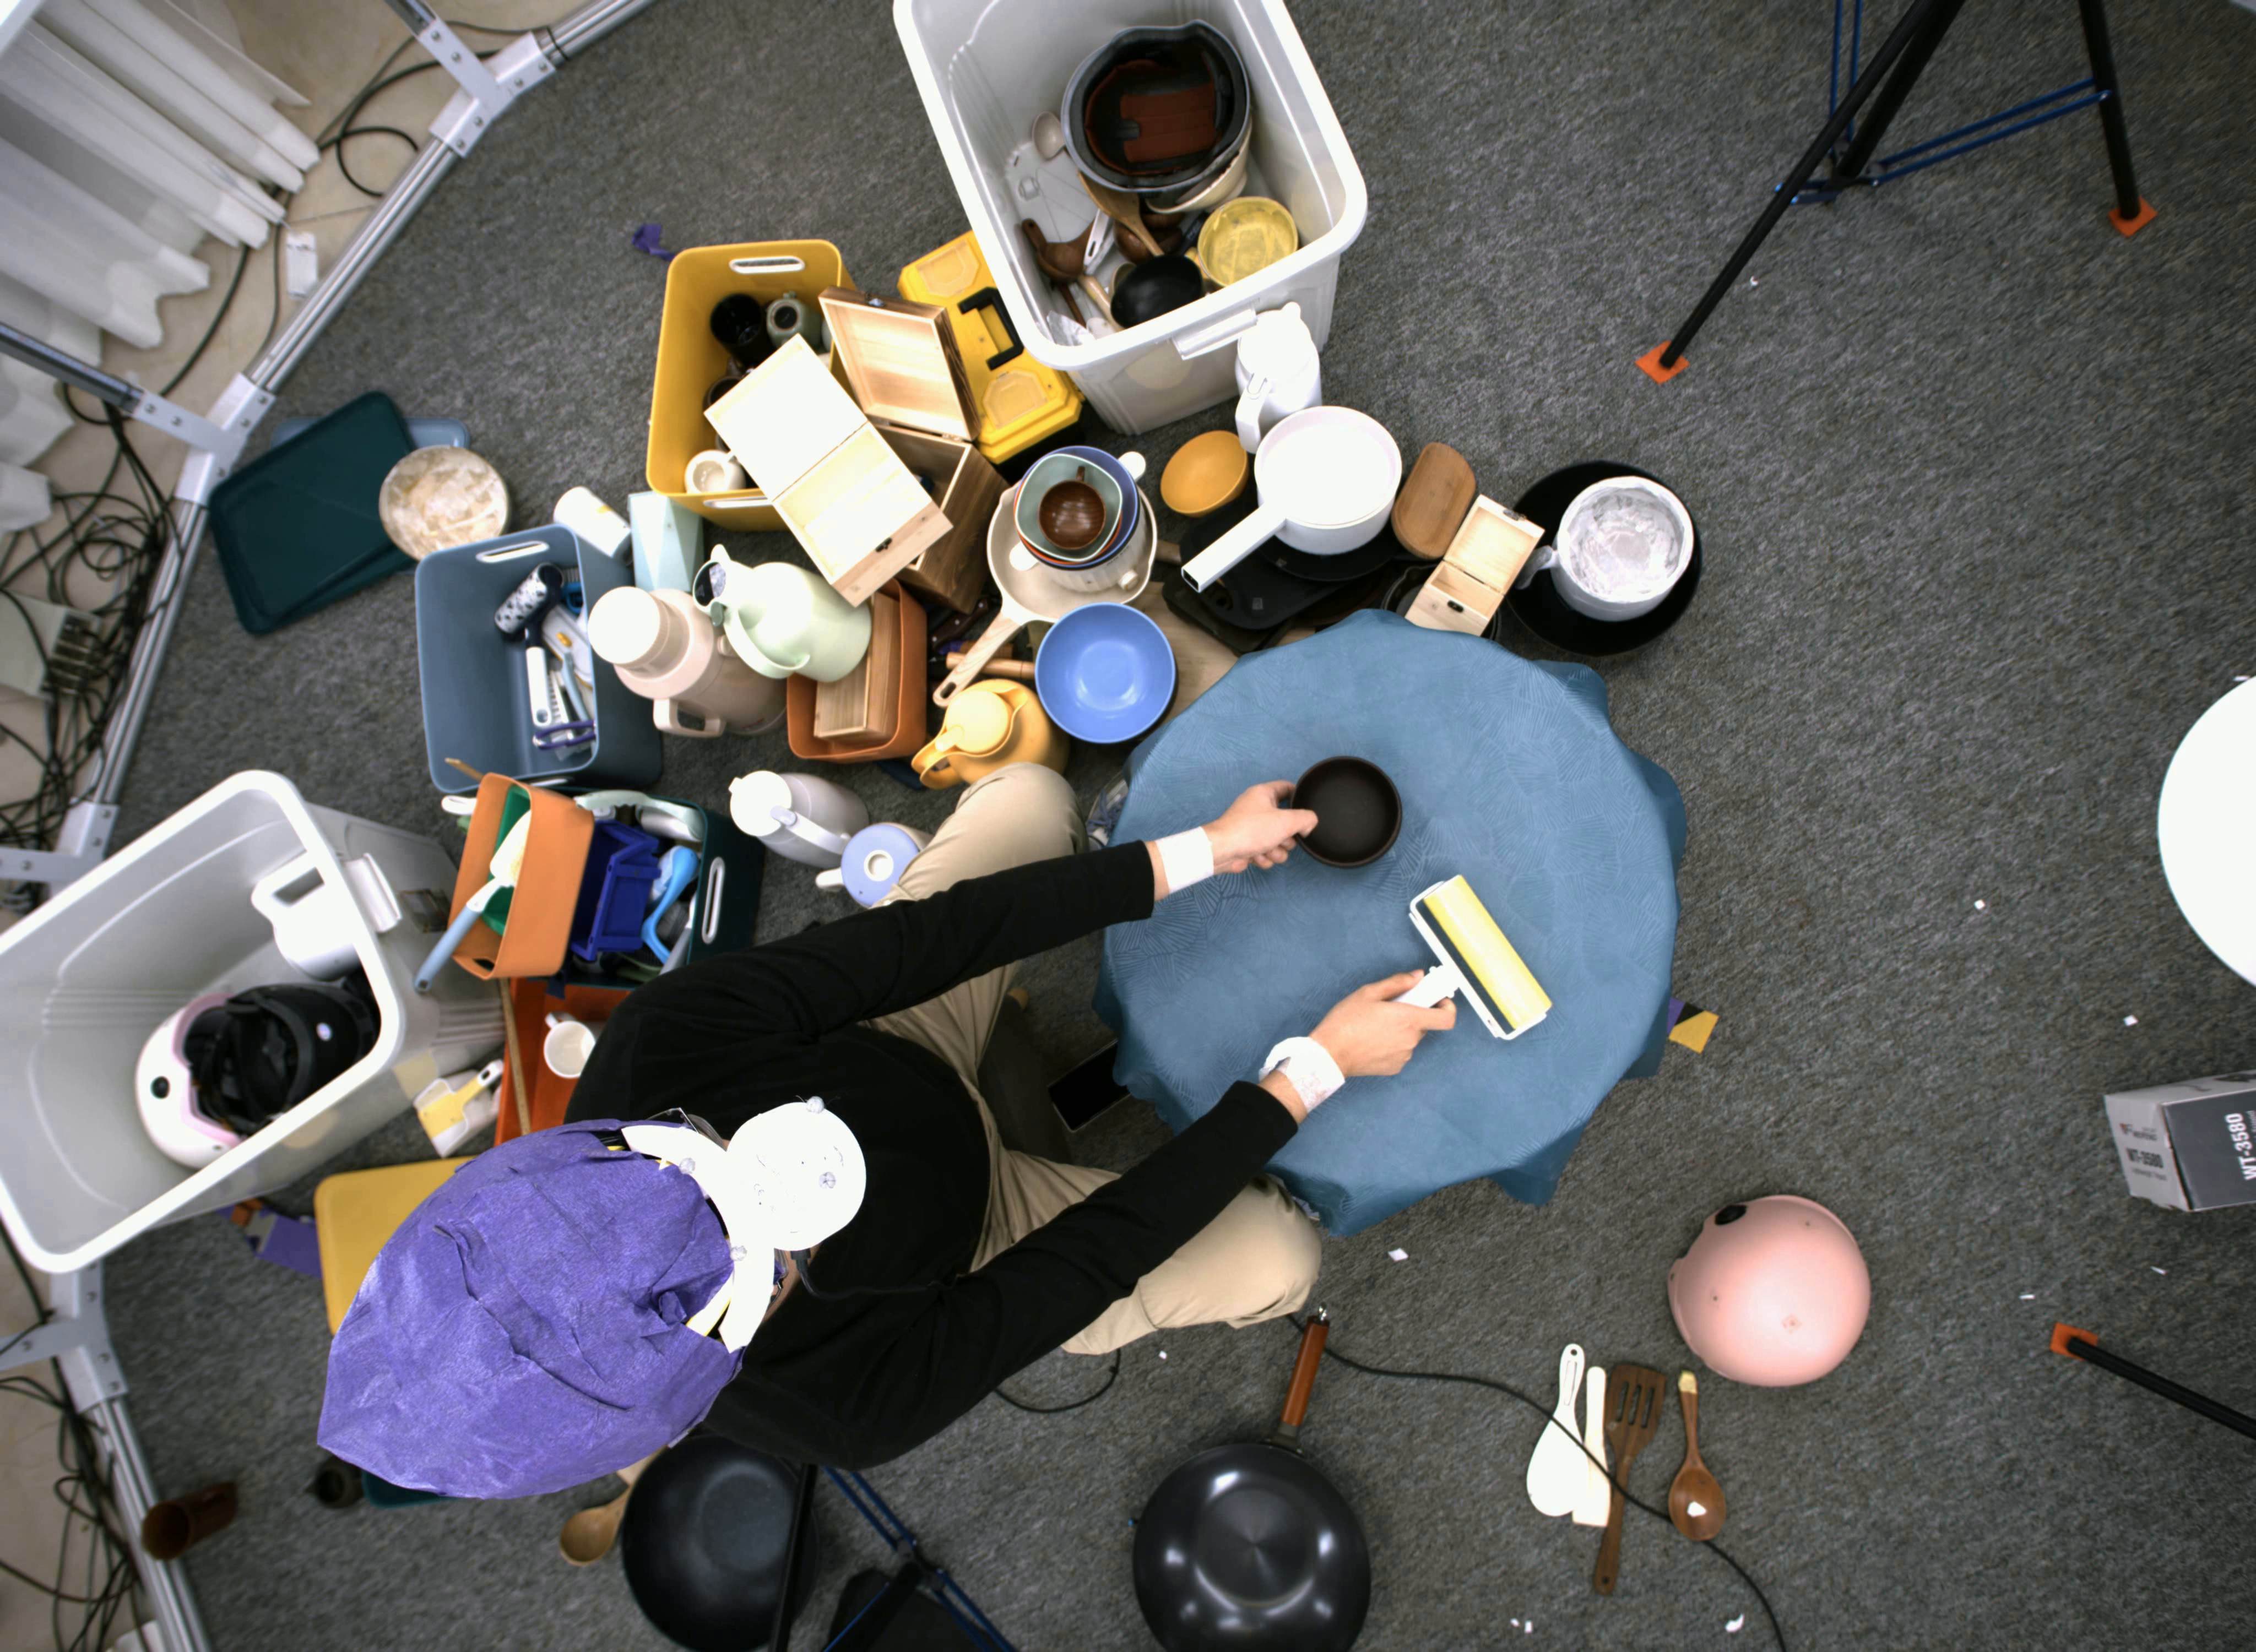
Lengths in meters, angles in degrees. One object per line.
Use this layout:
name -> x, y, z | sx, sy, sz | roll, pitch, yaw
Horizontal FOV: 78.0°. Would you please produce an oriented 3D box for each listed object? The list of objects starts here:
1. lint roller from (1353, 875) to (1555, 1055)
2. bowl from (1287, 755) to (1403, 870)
lint roller -> 0.311, 0.168, 1.405 | 0.191, 0.052, 0.173 | -35, 84, -7
bowl -> 0.226, -0.013, 1.434 | 0.118, 0.070, 0.117 | -1, 85, 12
